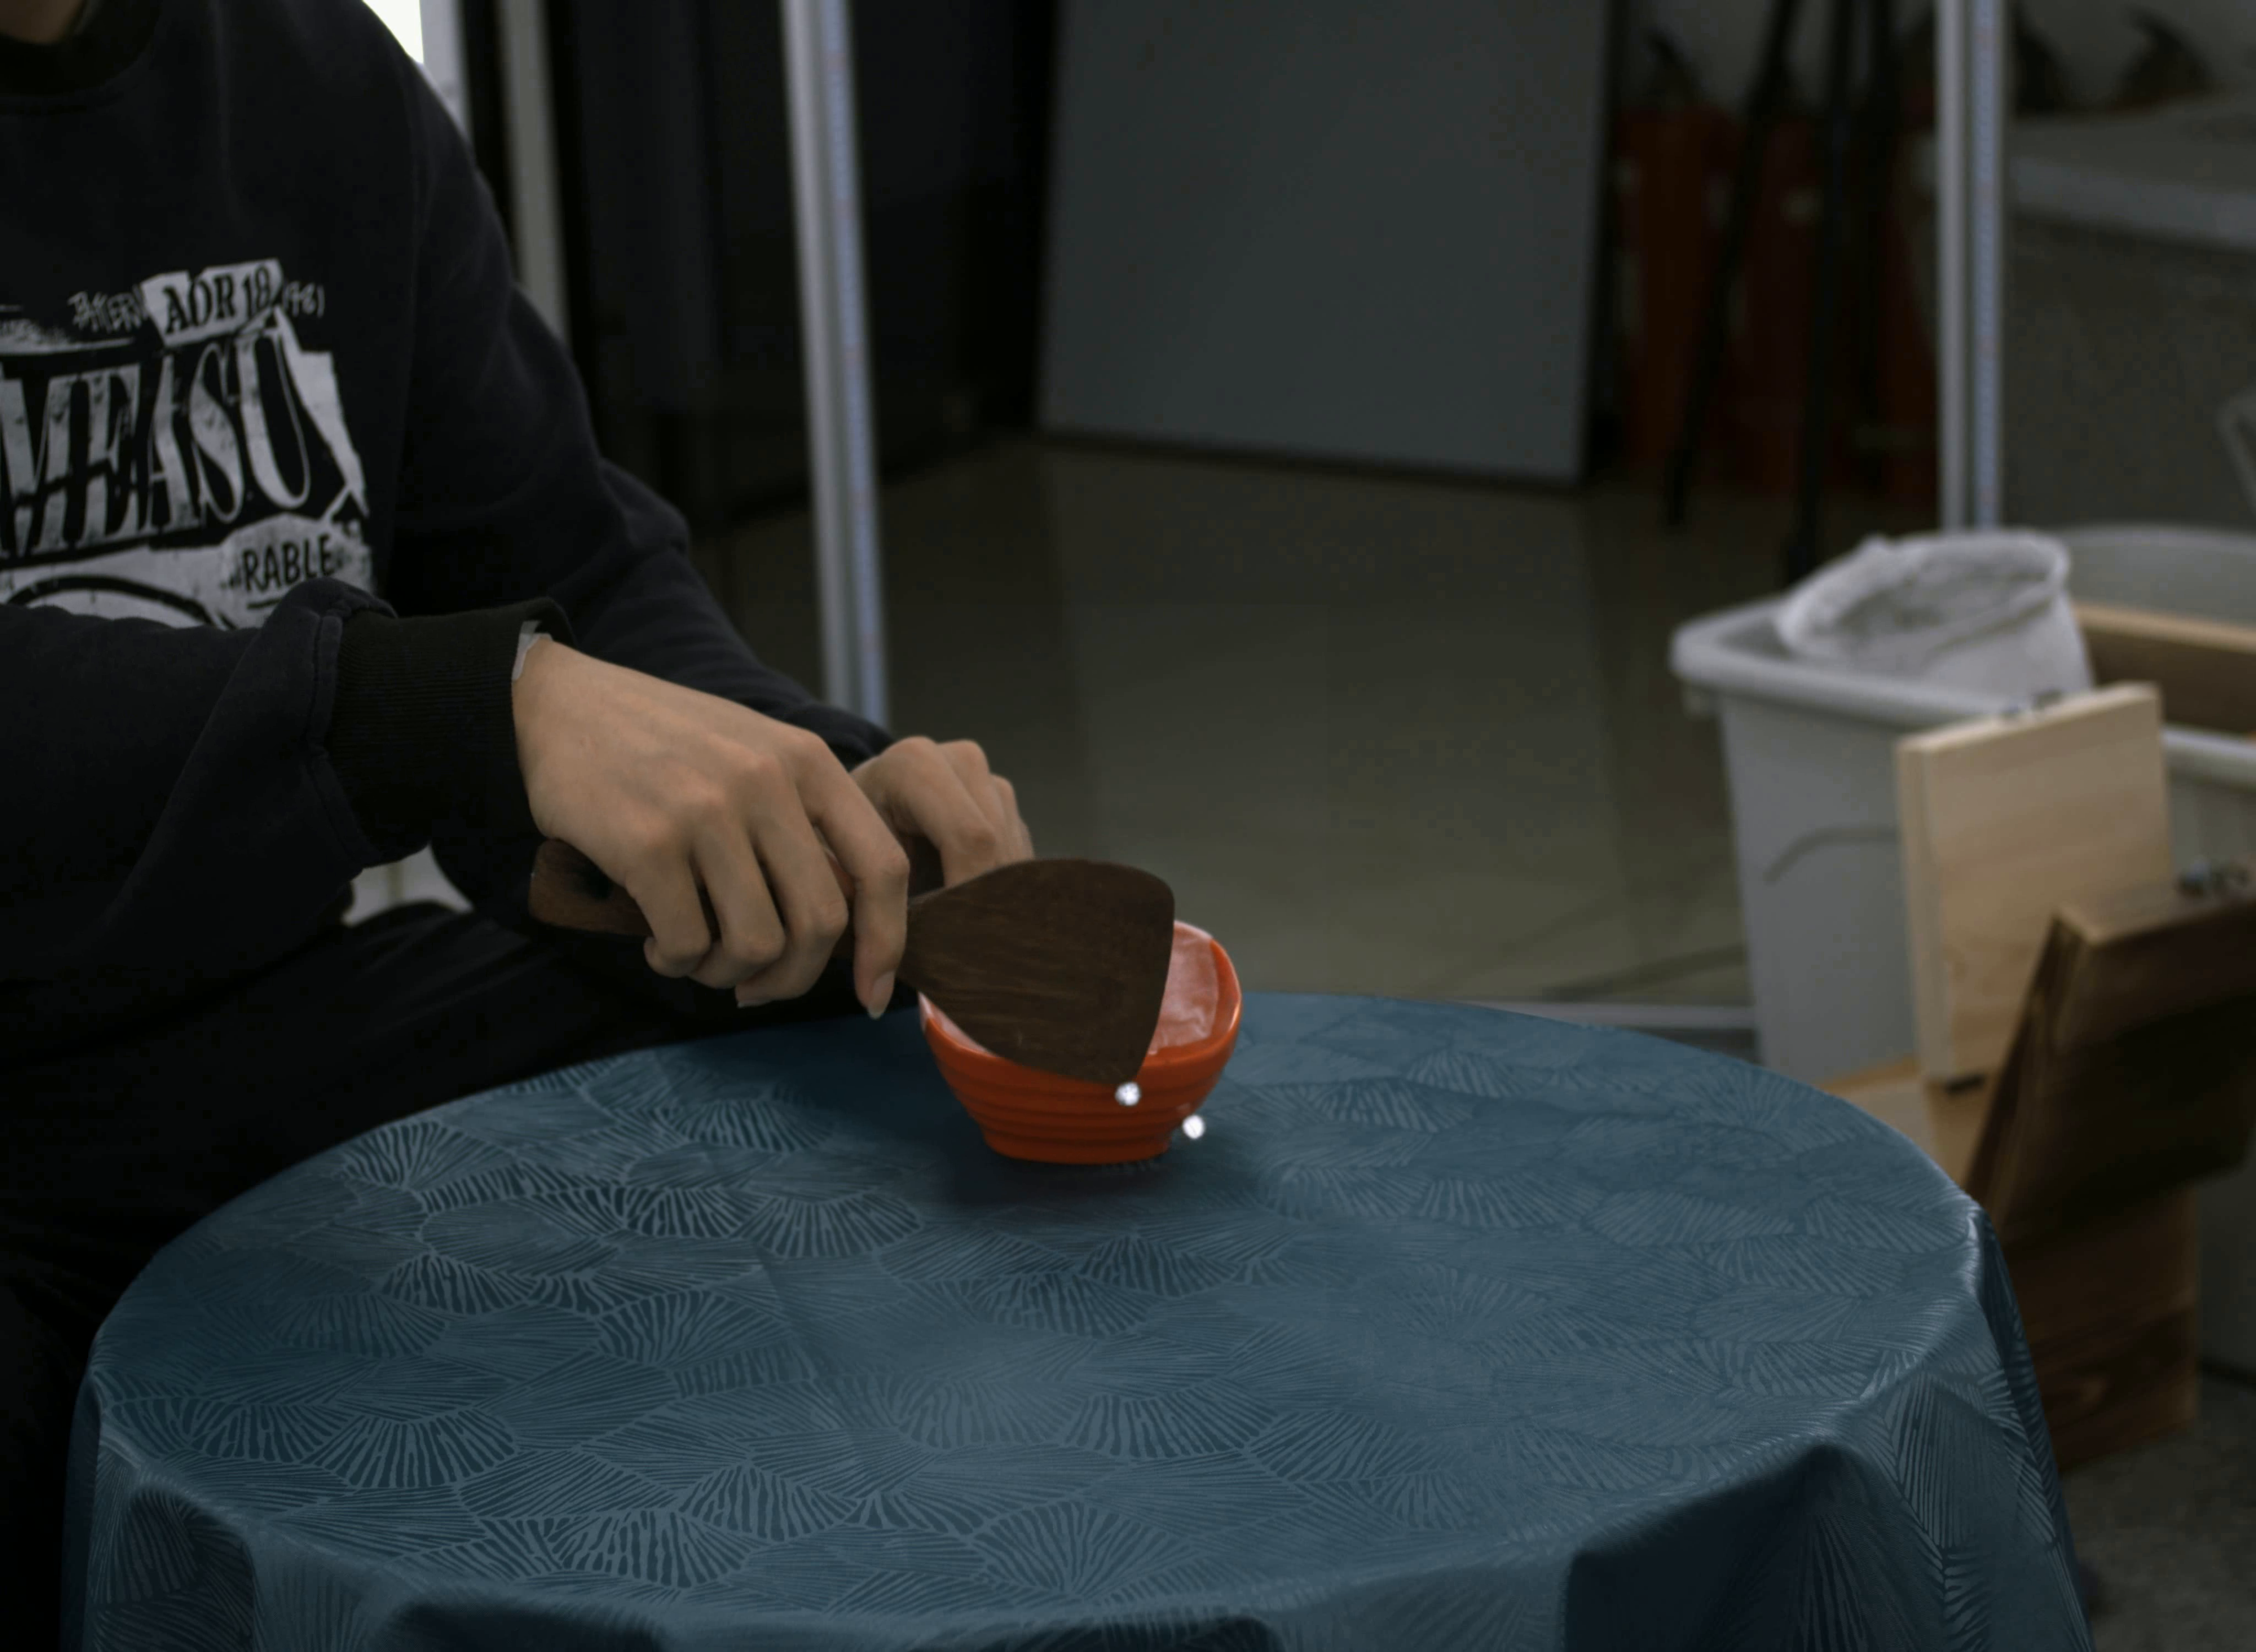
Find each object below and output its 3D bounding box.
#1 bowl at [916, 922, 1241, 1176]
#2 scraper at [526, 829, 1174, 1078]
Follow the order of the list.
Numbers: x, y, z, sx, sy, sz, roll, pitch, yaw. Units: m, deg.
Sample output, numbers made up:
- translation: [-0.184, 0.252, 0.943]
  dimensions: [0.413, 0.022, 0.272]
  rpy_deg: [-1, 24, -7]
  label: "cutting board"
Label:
- translation: [-0.017, 0.078, 1.812]
  dimensions: [0.117, 0.052, 0.119]
  rpy_deg: [0, 28, -1]
  label: "bowl"
- translation: [-0.087, 0.030, 1.709]
  dimensions: [0.207, 0.077, 0.011]
  rpy_deg: [9, 8, -15]
  label: "scraper"
